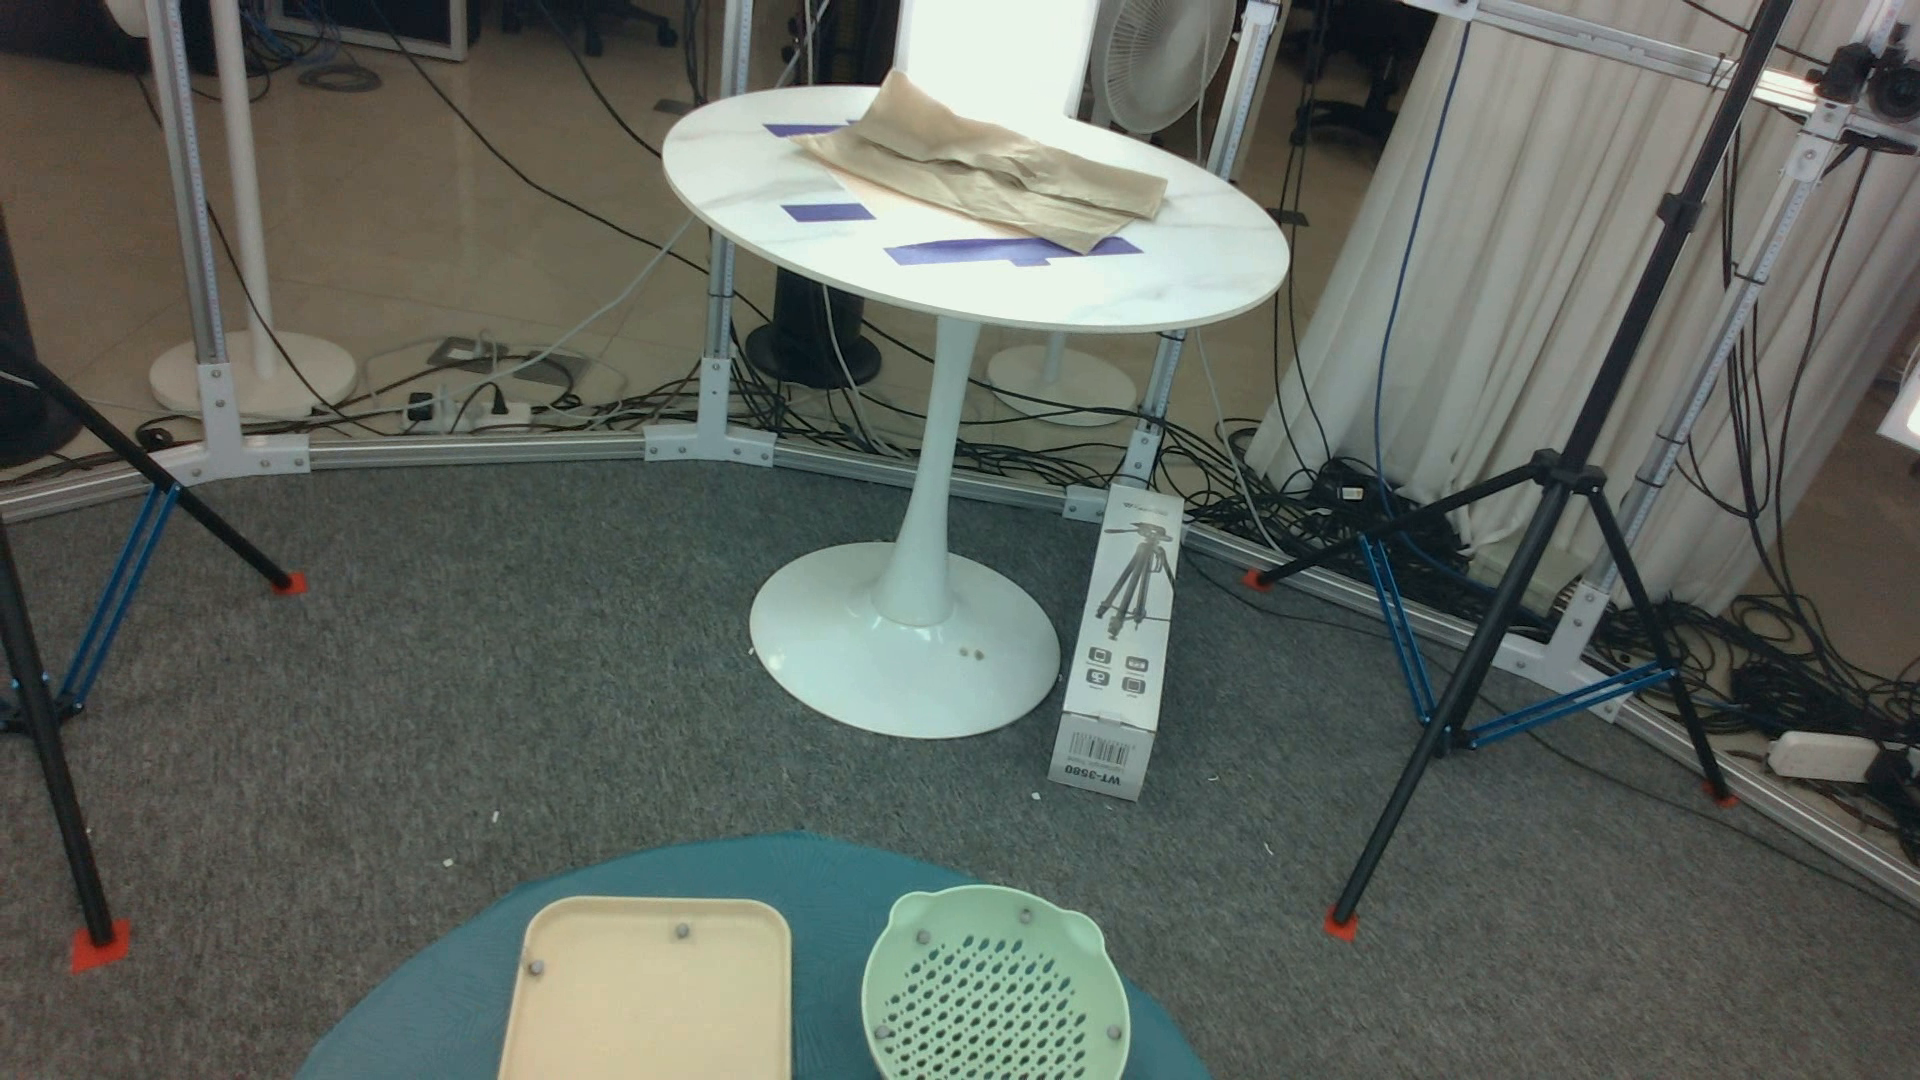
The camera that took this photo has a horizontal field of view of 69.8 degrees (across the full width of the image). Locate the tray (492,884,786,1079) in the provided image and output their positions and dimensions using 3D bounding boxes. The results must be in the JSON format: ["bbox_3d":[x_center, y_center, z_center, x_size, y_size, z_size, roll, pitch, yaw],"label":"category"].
[{"bbox_3d":[-0.192,0.307,0.836,0.171,0.017,0.240,4,35,-11],"label":"tray"}]

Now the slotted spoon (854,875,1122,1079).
[{"bbox_3d":[0.013,0.354,0.788,0.169,0.075,0.360,8,34,-5],"label":"slotted spoon"}]
